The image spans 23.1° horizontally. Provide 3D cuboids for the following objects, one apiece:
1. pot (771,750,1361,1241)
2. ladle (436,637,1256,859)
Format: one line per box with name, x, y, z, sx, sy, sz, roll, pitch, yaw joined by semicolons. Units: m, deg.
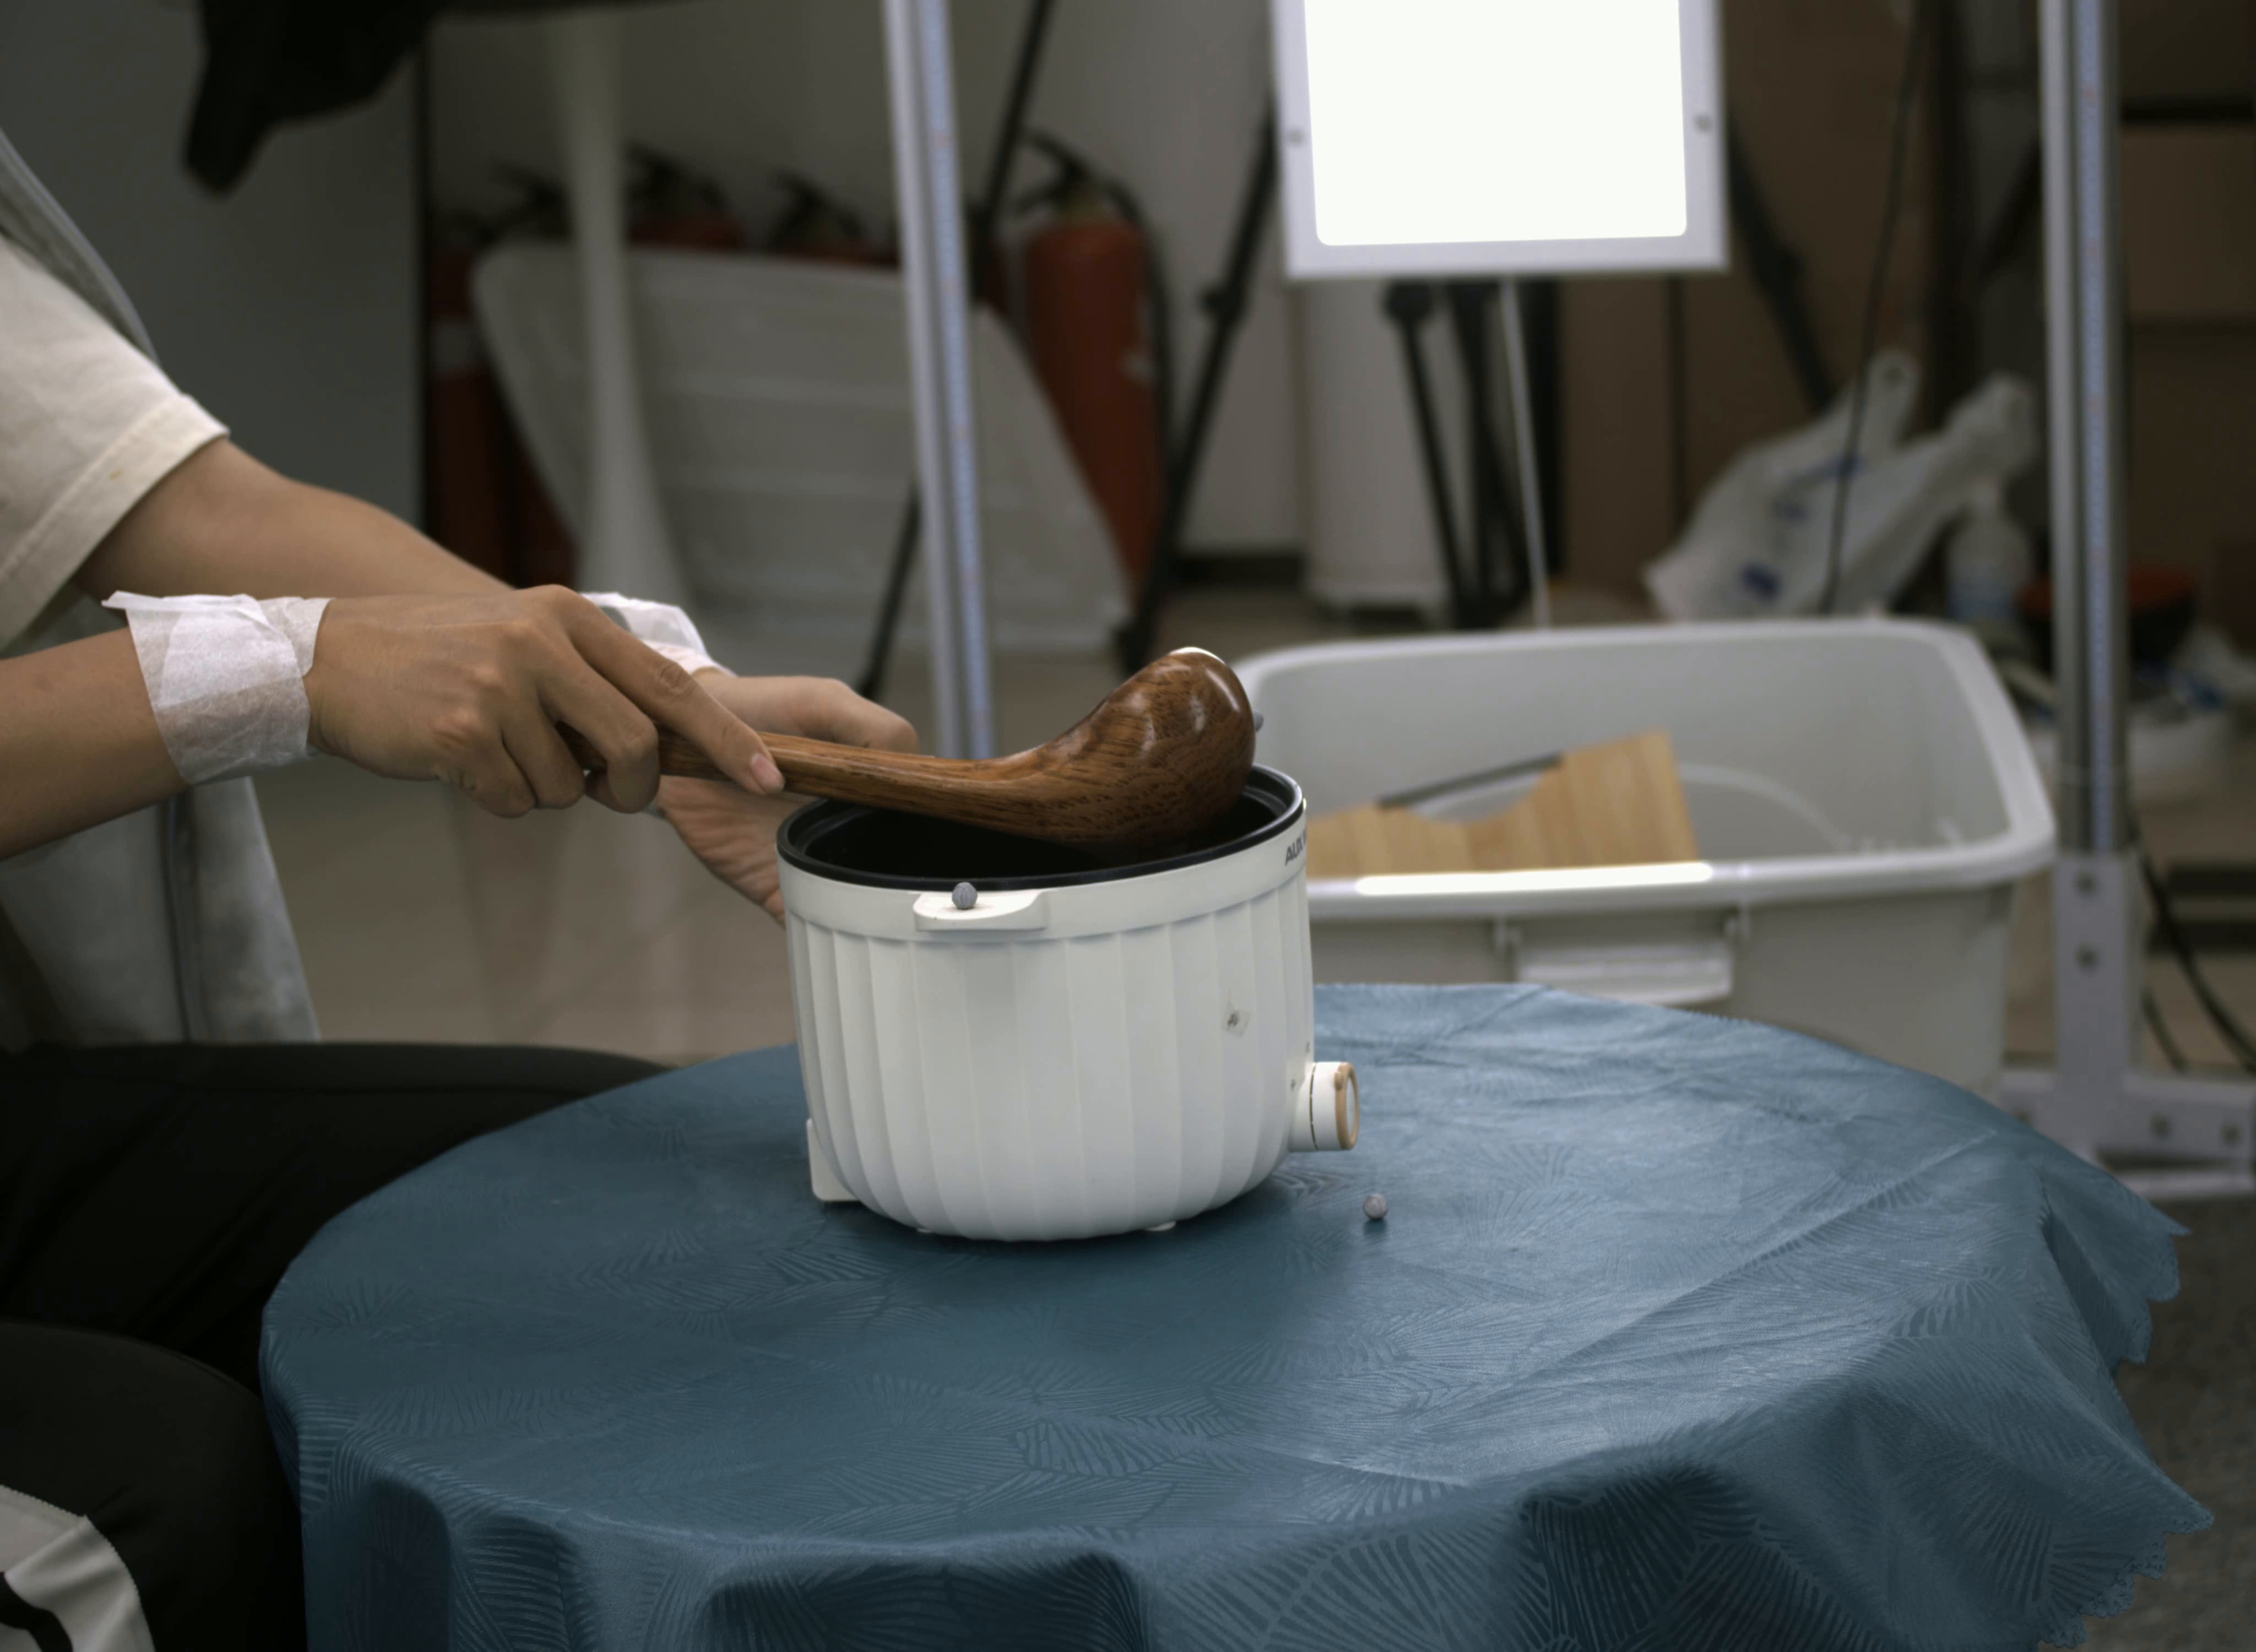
pot;-0.020;0.059;1.888;0.192;0.143;0.237;-5;14;14
ladle;-0.093;-0.032;1.866;0.274;0.082;0.076;5;30;5
